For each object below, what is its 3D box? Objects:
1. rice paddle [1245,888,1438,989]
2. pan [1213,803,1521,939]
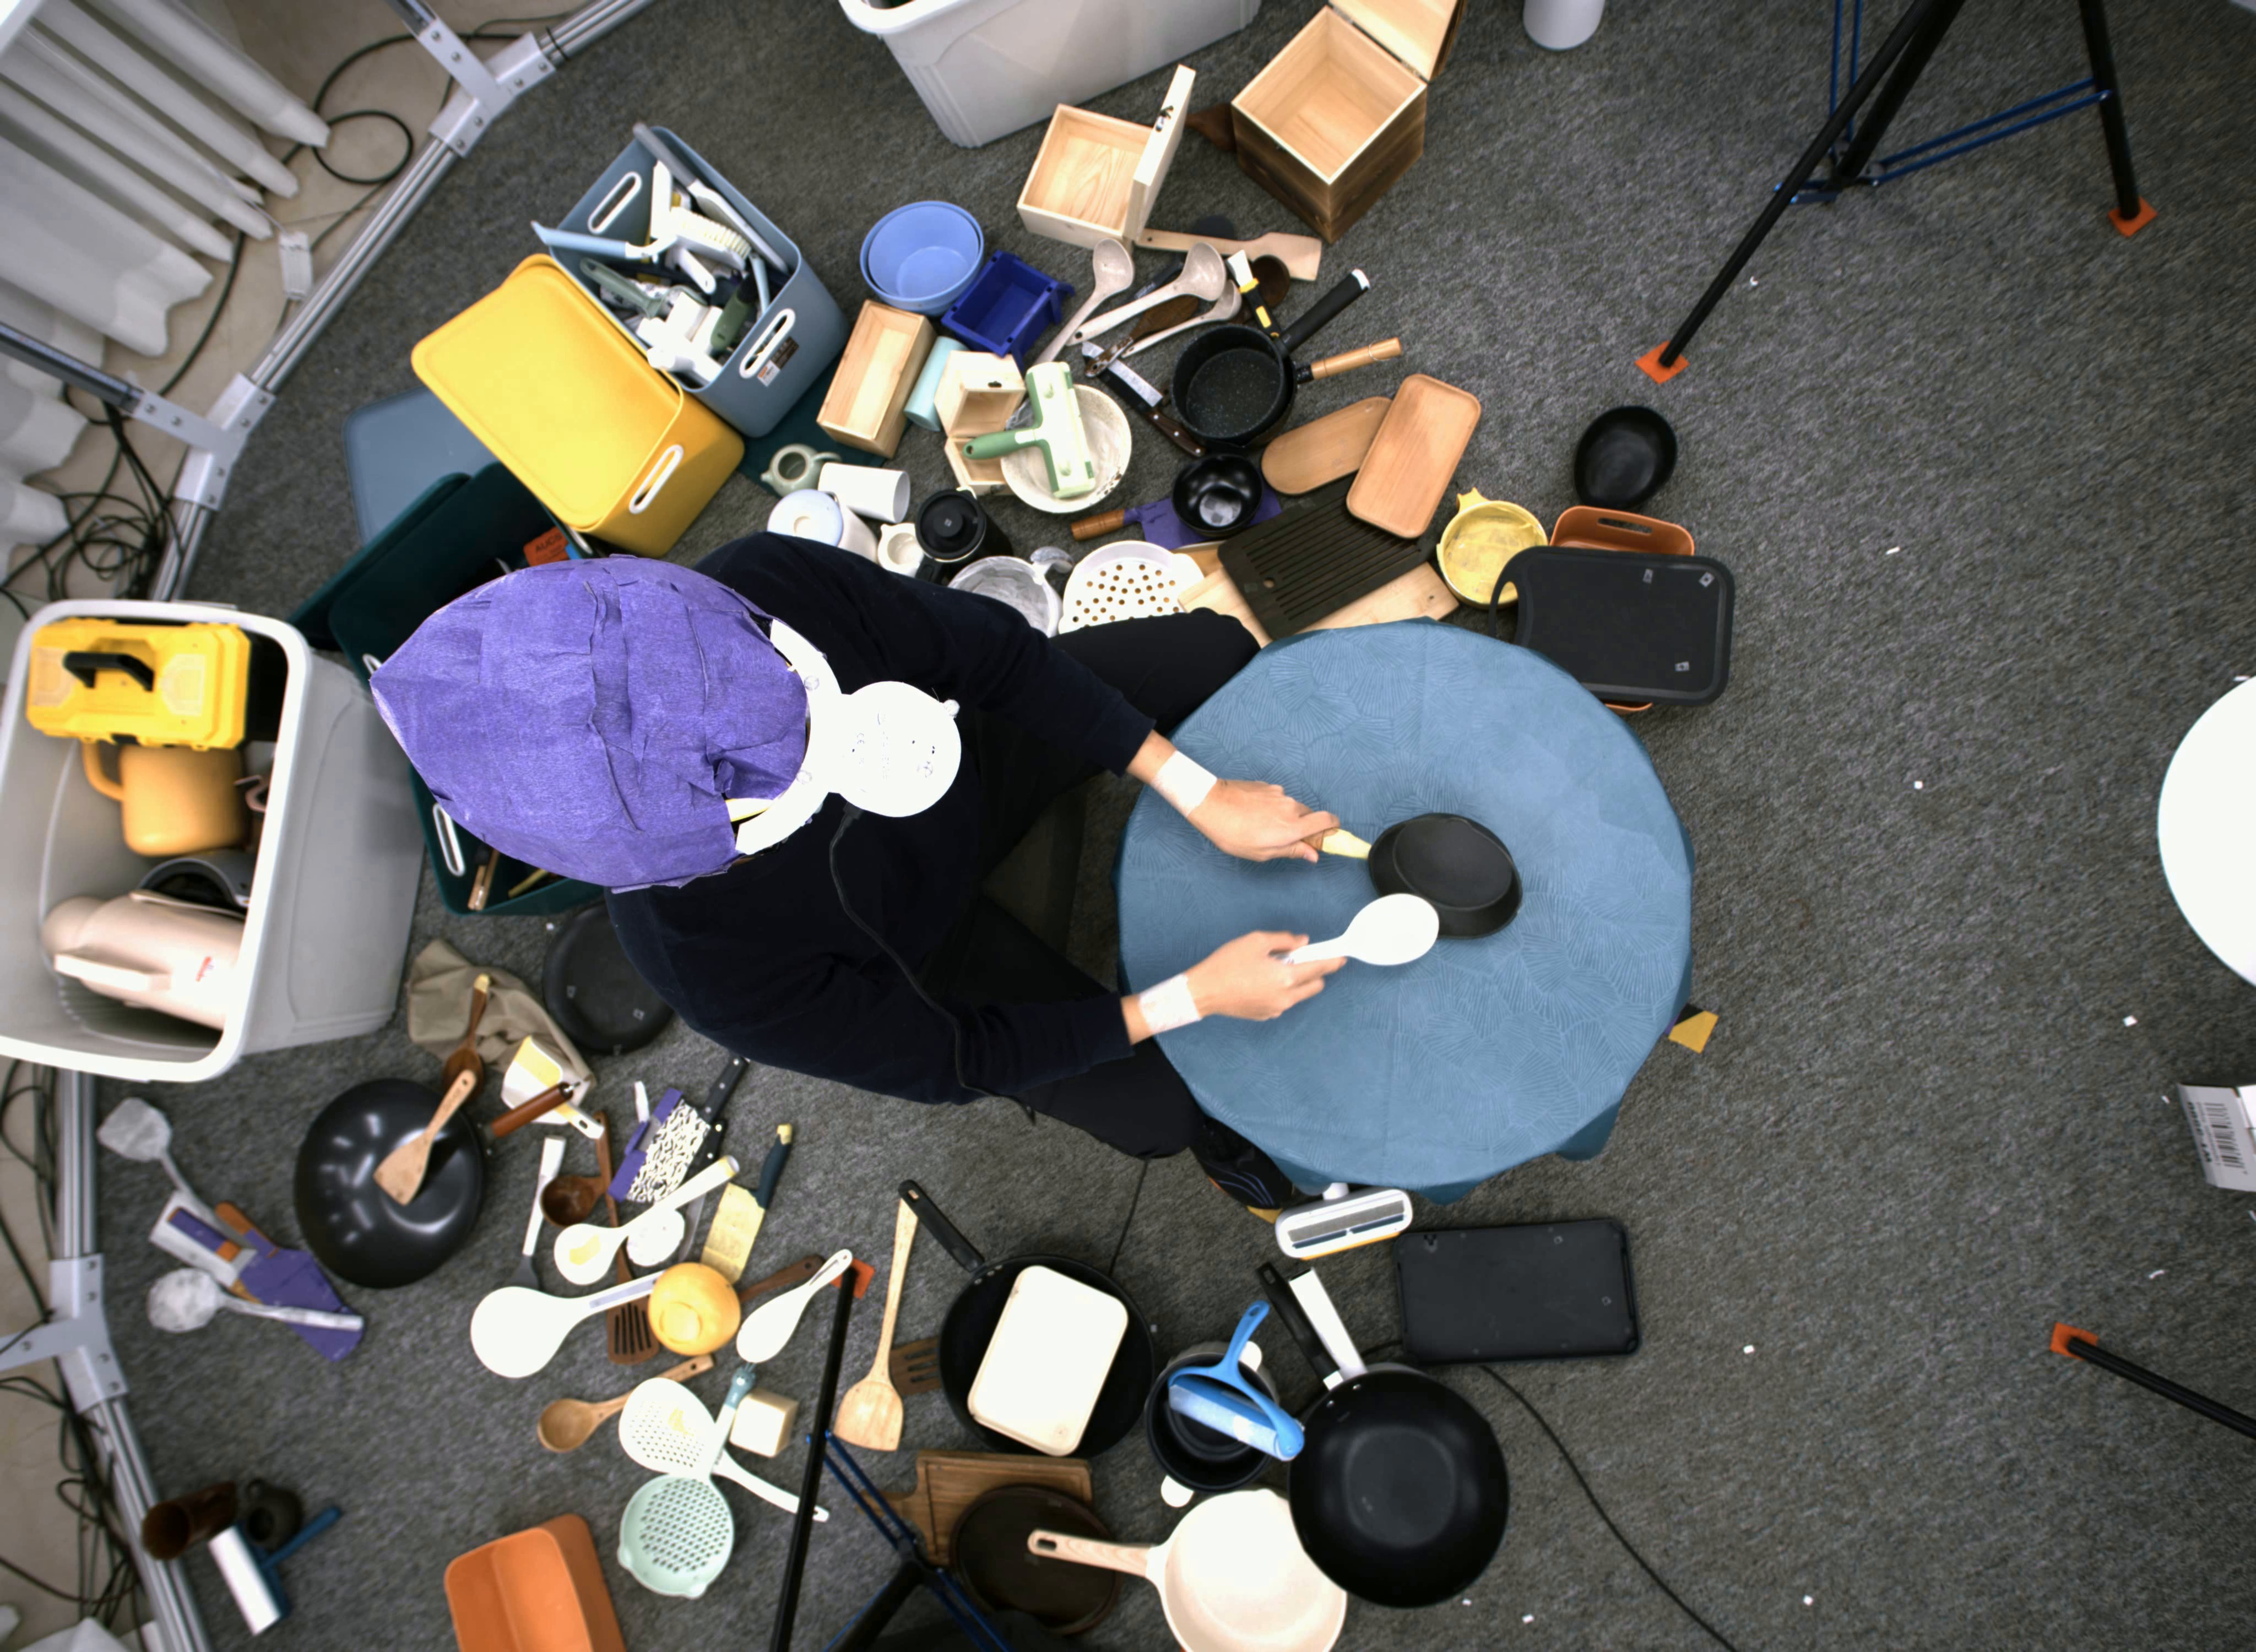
[{"bbox_3d":[0.218,0.115,1.399,0.205,0.030,0.068,-19,72,-3],"label":"rice paddle"},{"bbox_3d":[0.244,0.022,1.411,0.324,0.173,0.048,20,48,15],"label":"pan"}]
